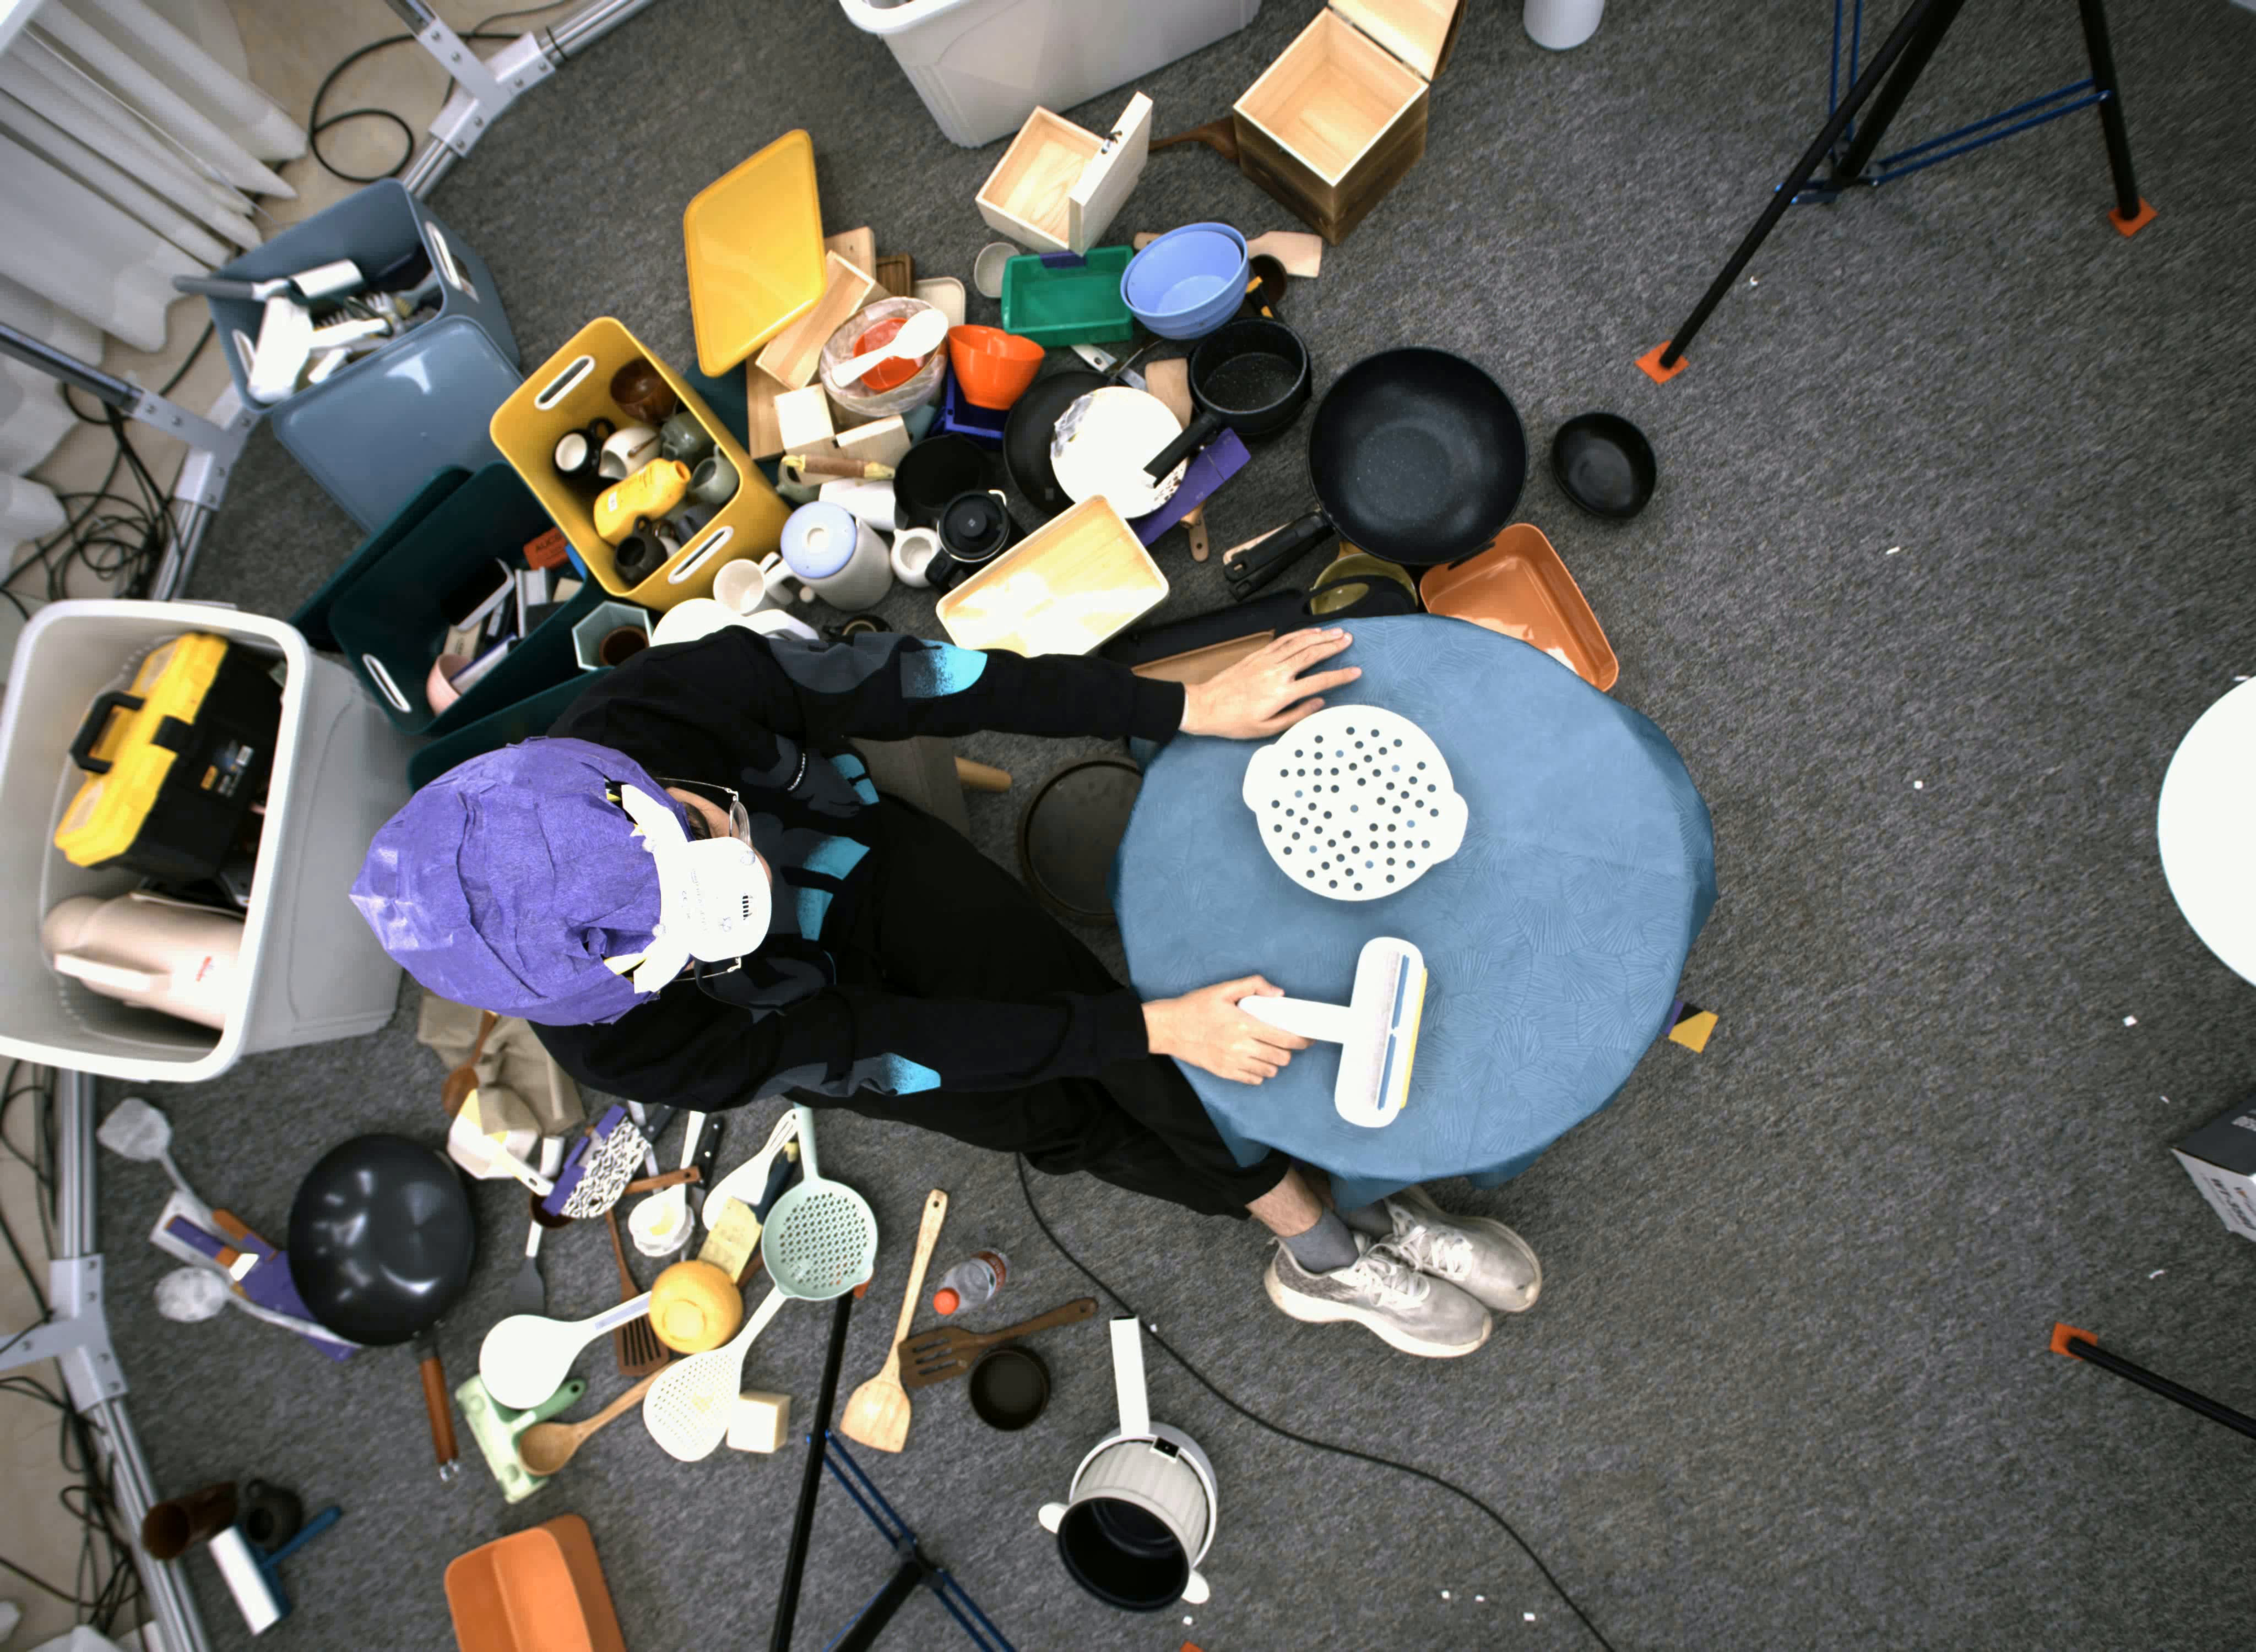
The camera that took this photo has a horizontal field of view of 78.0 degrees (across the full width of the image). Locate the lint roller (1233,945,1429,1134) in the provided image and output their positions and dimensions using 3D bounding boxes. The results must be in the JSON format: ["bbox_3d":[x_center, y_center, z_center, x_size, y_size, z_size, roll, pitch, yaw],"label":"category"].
[{"bbox_3d":[0.200,0.204,1.427,0.193,0.074,0.191,13,84,12],"label":"lint roller"}]

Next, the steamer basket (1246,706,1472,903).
[{"bbox_3d":[0.239,-0.021,1.432,0.231,0.069,0.201,15,88,12],"label":"steamer basket"}]
